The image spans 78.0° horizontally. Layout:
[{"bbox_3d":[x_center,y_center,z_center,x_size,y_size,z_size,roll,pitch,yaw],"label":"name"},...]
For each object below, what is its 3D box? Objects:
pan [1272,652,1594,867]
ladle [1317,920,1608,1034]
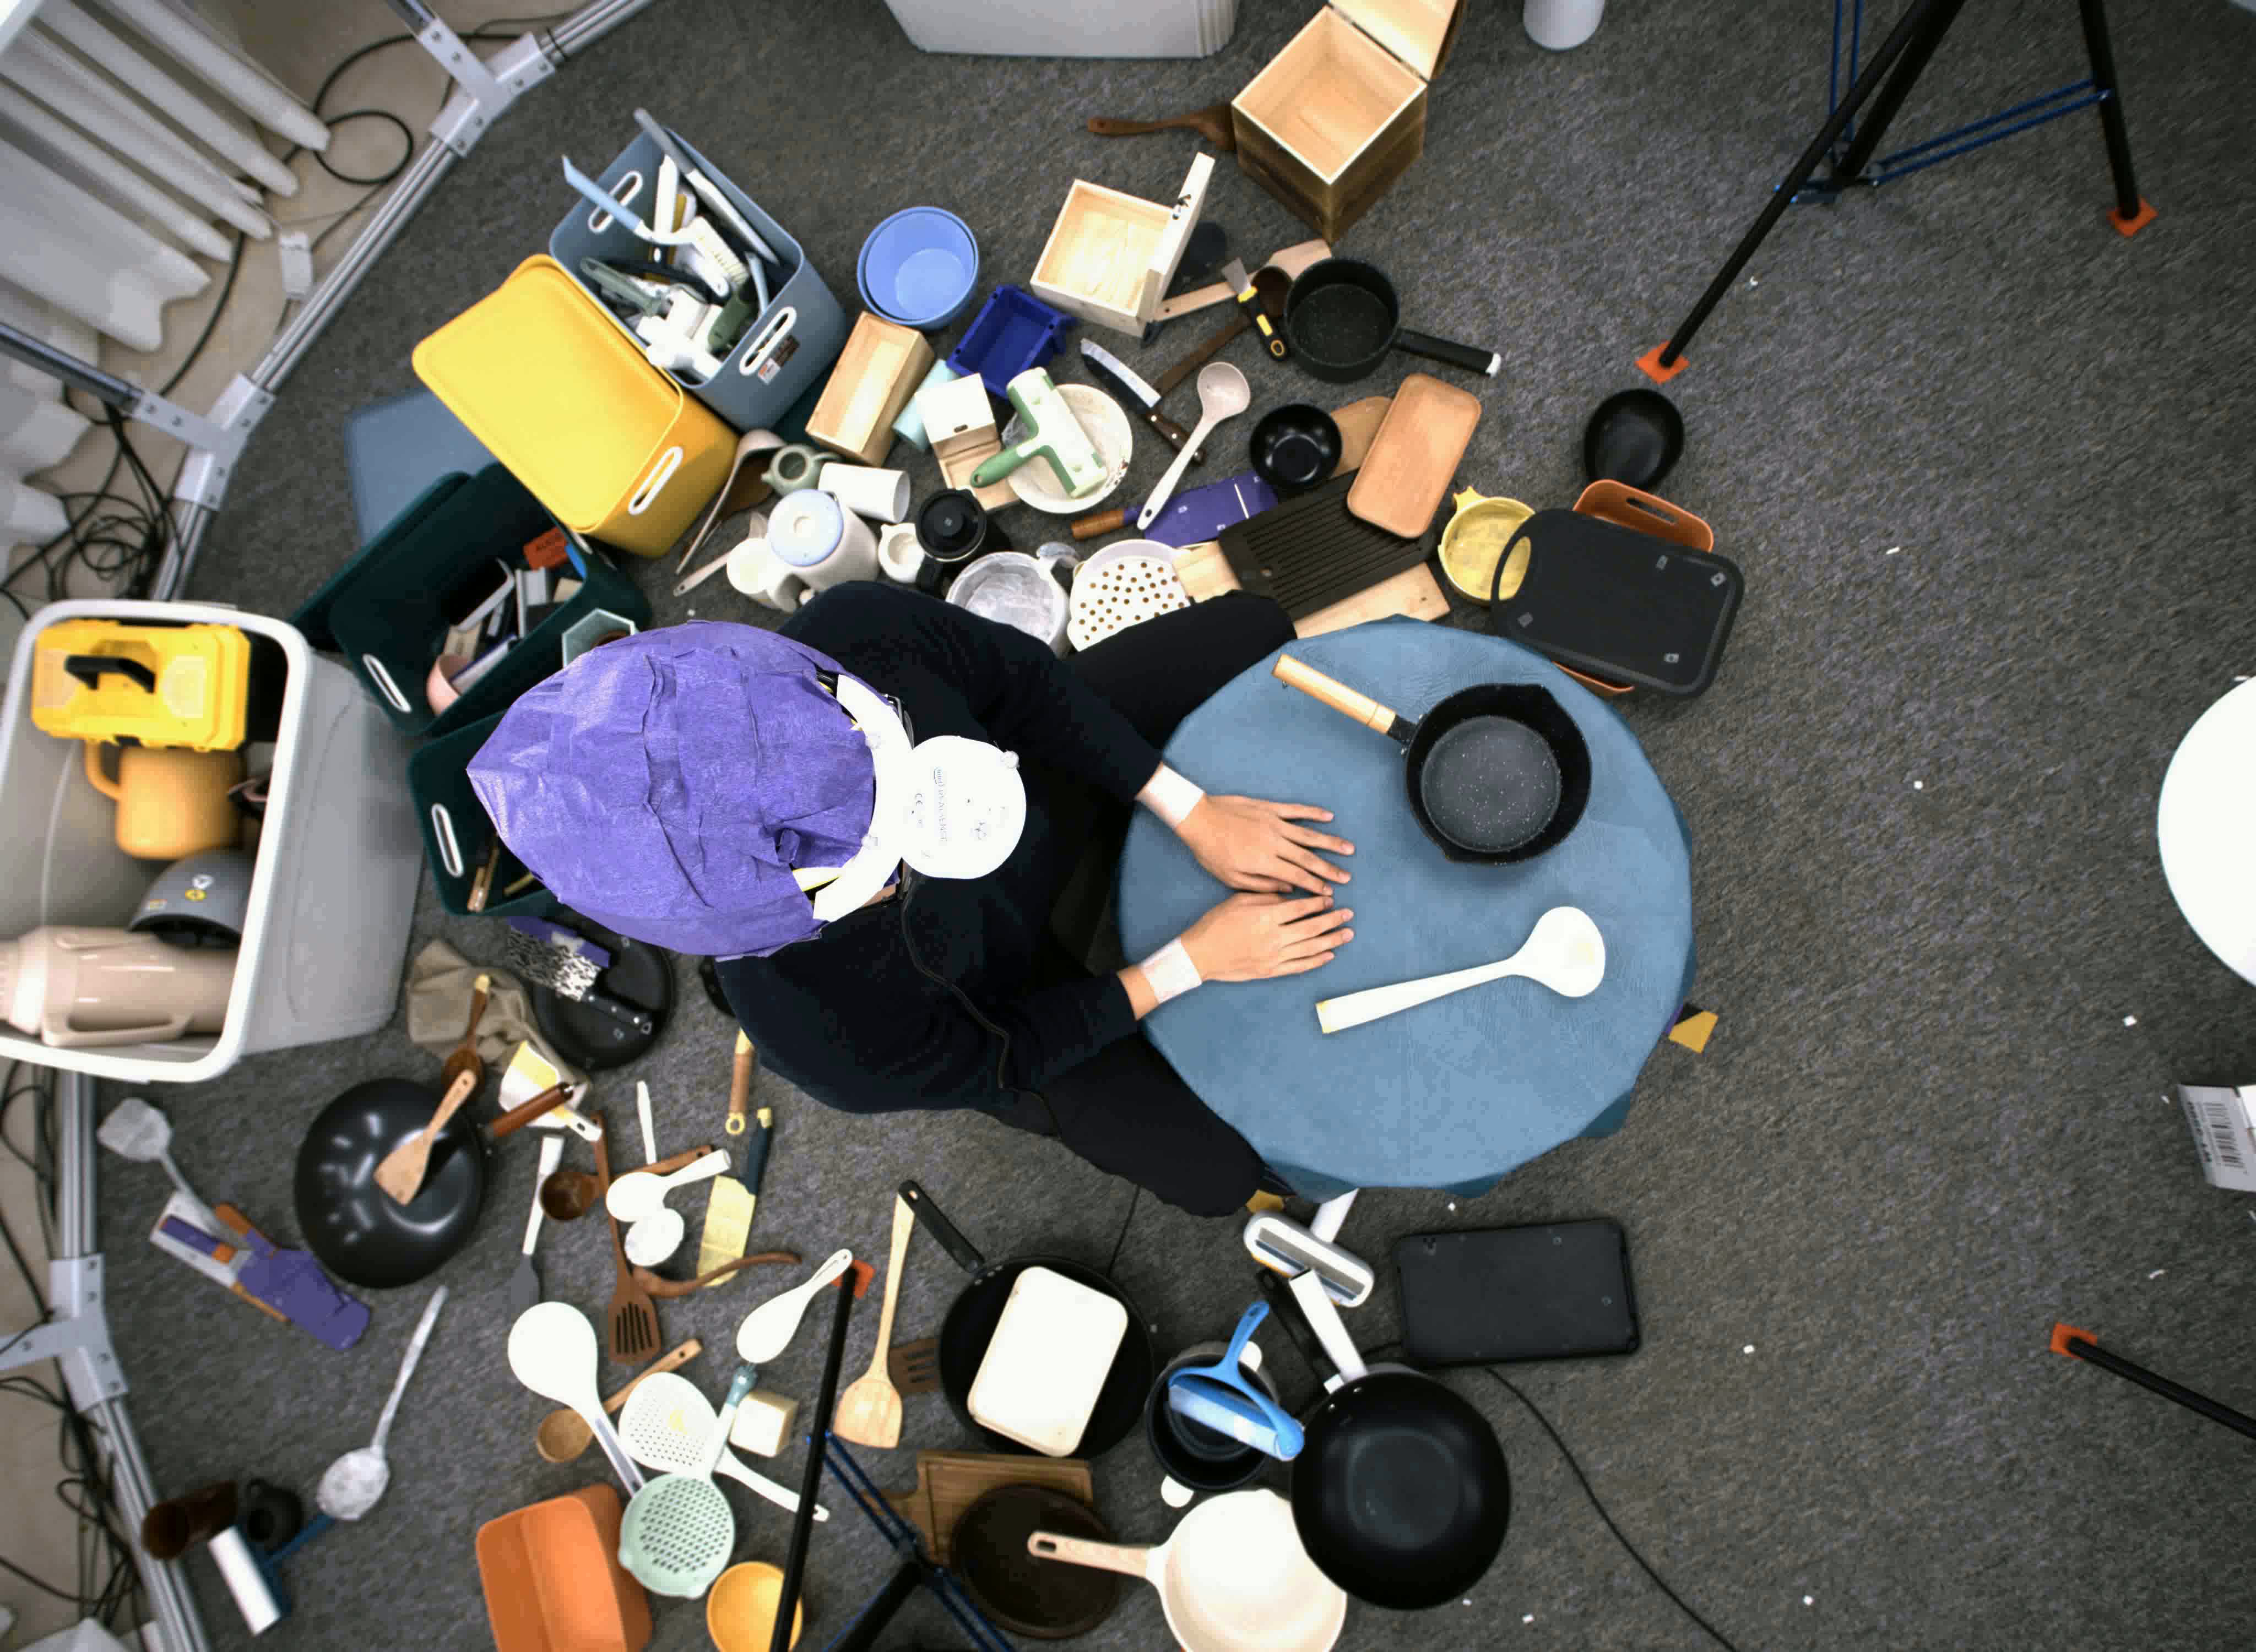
[{"bbox_3d":[0.303,-0.085,1.408,0.342,0.108,0.208,26,92,9],"label":"pan"},{"bbox_3d":[0.337,0.165,1.410,0.295,0.069,0.090,-15,90,10],"label":"ladle"}]
